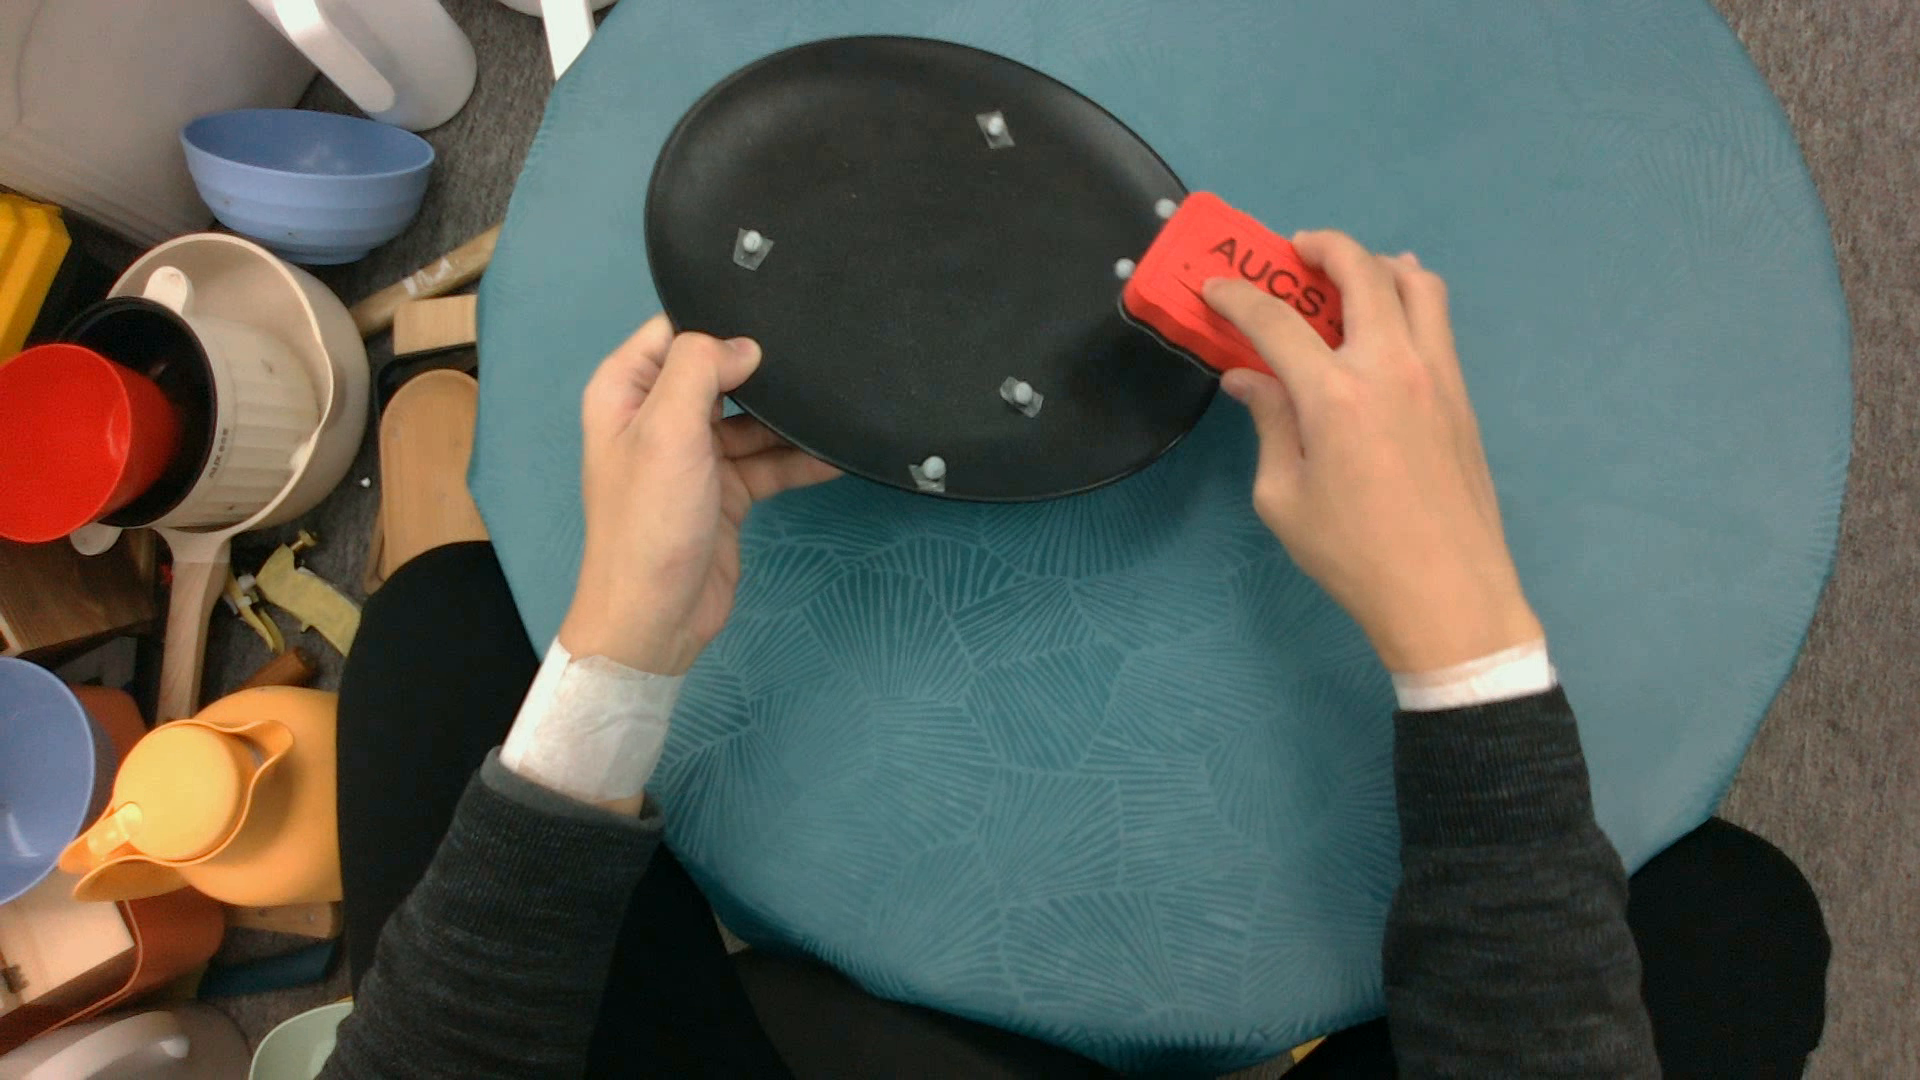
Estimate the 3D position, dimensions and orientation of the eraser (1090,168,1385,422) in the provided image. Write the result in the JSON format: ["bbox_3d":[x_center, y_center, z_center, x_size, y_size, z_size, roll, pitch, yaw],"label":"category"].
[{"bbox_3d":[0.110,-0.097,0.547,0.108,0.023,0.059,33,78,0],"label":"eraser"}]

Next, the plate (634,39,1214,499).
[{"bbox_3d":[-0.009,-0.115,0.566,0.244,0.023,0.245,7,58,-10],"label":"plate"}]
